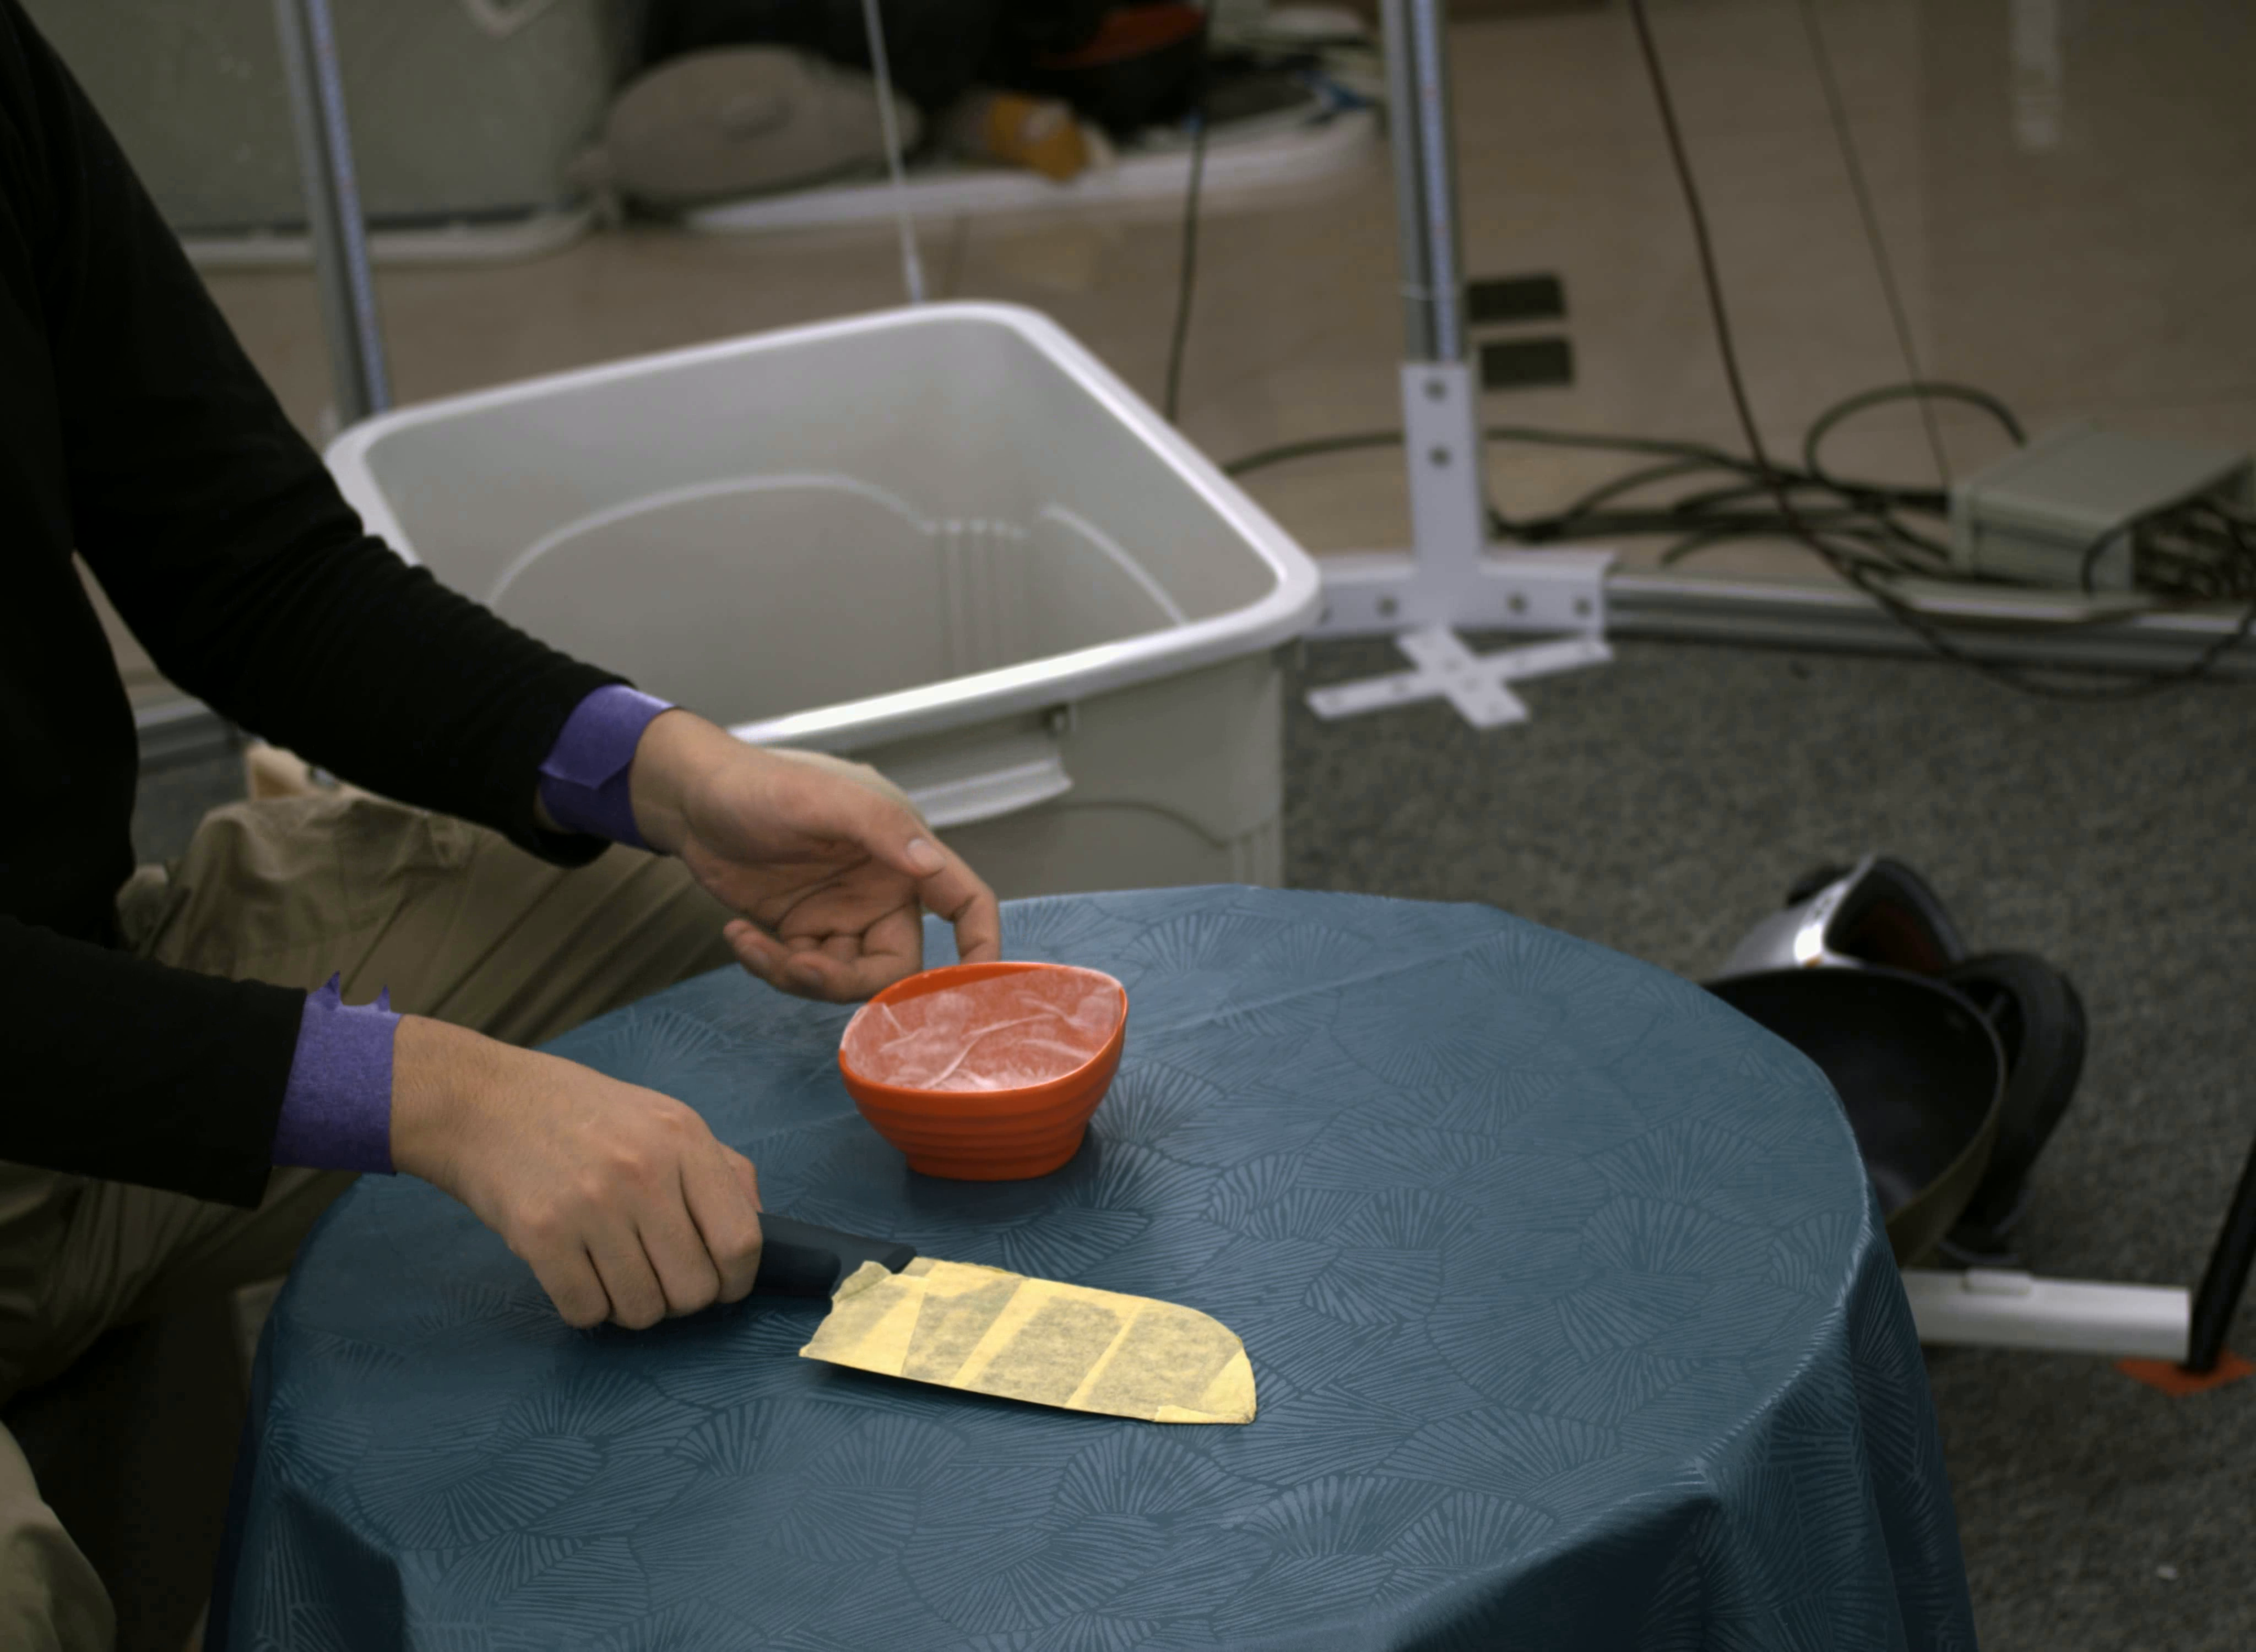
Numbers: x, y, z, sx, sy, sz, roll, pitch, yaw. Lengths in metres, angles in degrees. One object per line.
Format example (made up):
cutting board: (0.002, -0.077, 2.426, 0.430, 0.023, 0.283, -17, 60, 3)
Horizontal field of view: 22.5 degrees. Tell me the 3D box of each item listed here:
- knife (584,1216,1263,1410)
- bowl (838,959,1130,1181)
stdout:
knife: (-0.081, 0.178, 2.066, 0.288, 0.027, 0.080, 8, 29, 26)
bowl: (-0.053, 0.098, 2.188, 0.119, 0.052, 0.117, -5, 27, 2)
